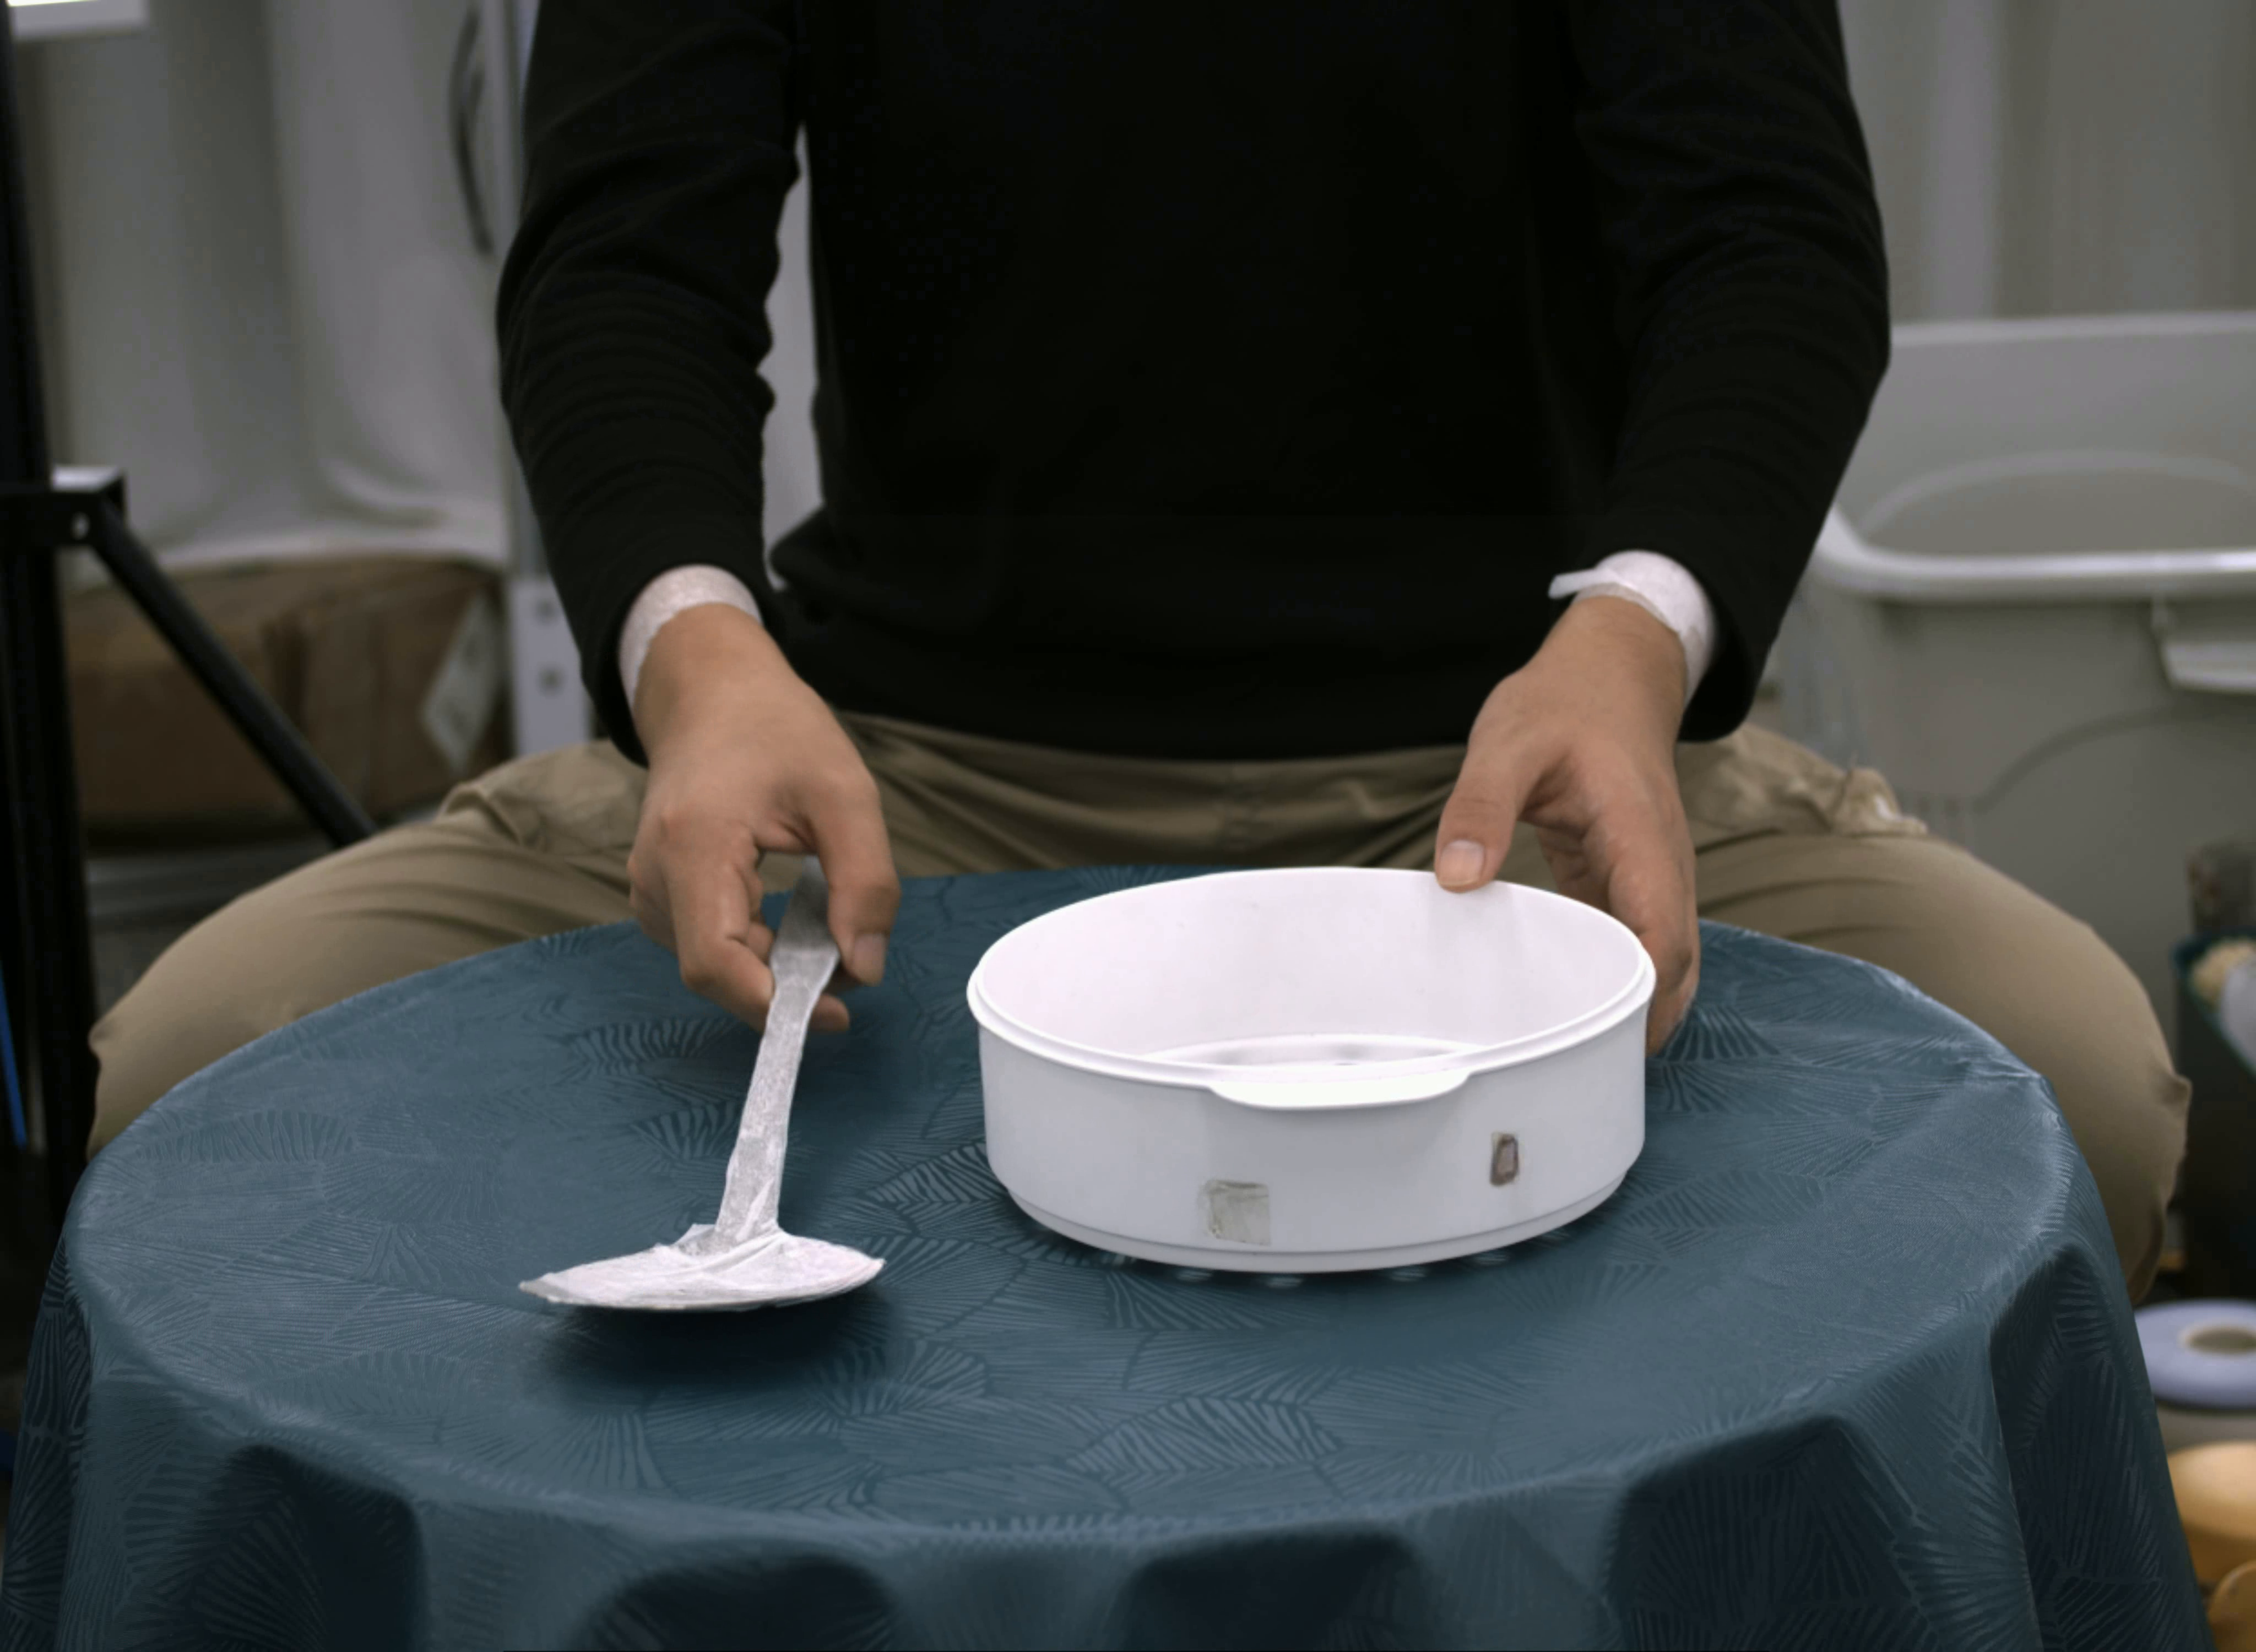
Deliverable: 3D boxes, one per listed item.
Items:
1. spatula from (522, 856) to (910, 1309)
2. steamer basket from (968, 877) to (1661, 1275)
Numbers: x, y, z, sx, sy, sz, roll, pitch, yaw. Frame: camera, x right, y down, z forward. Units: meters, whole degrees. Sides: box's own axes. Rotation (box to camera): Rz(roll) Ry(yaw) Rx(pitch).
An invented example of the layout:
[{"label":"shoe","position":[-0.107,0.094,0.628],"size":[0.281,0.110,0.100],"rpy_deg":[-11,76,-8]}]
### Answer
[{"label":"spatula","position":[-0.100,0.068,1.588],"size":[0.099,0.044,0.366],"rpy_deg":[-4,24,7]},{"label":"steamer basket","position":[0.054,0.072,1.547],"size":[0.201,0.069,0.232],"rpy_deg":[-2,15,-1]}]
